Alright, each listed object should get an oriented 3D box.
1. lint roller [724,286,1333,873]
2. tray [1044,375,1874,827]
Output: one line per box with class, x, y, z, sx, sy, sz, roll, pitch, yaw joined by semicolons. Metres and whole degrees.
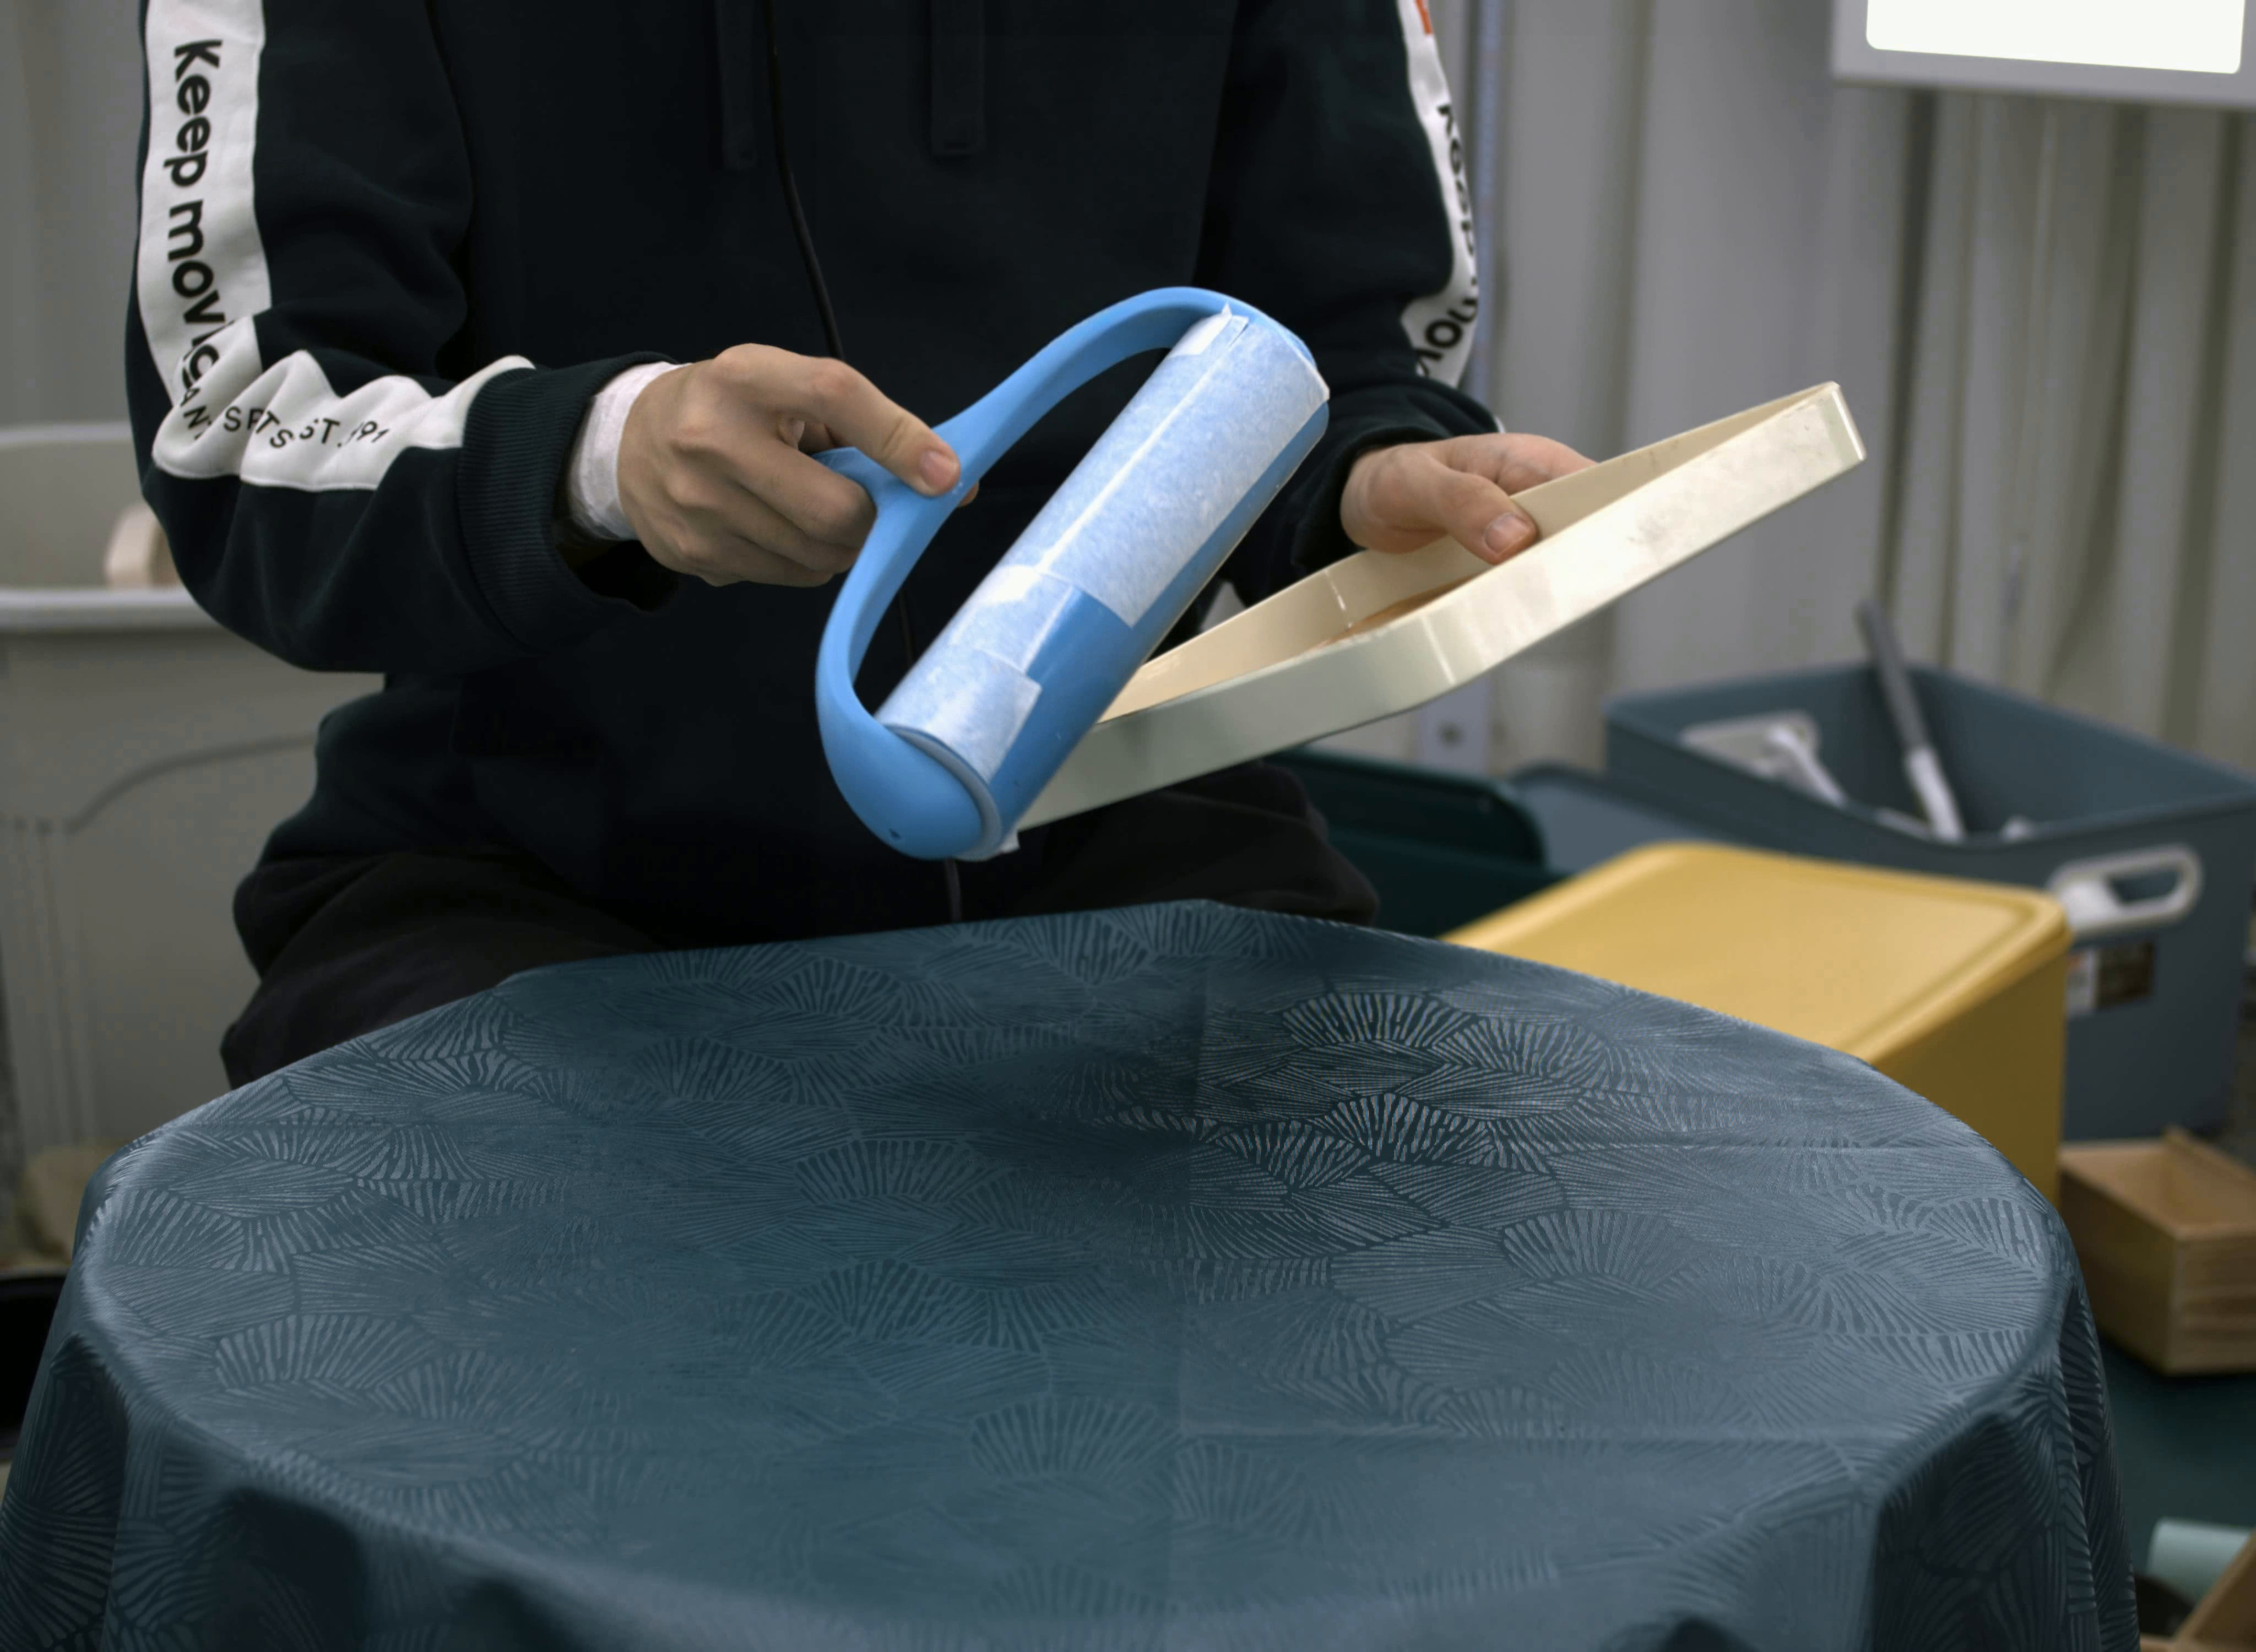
lint roller;-0.056;-0.086;1.621;0.178;0.069;0.228;13;54;26
tray;0.082;-0.063;1.646;0.192;0.027;0.298;-29;6;-29
